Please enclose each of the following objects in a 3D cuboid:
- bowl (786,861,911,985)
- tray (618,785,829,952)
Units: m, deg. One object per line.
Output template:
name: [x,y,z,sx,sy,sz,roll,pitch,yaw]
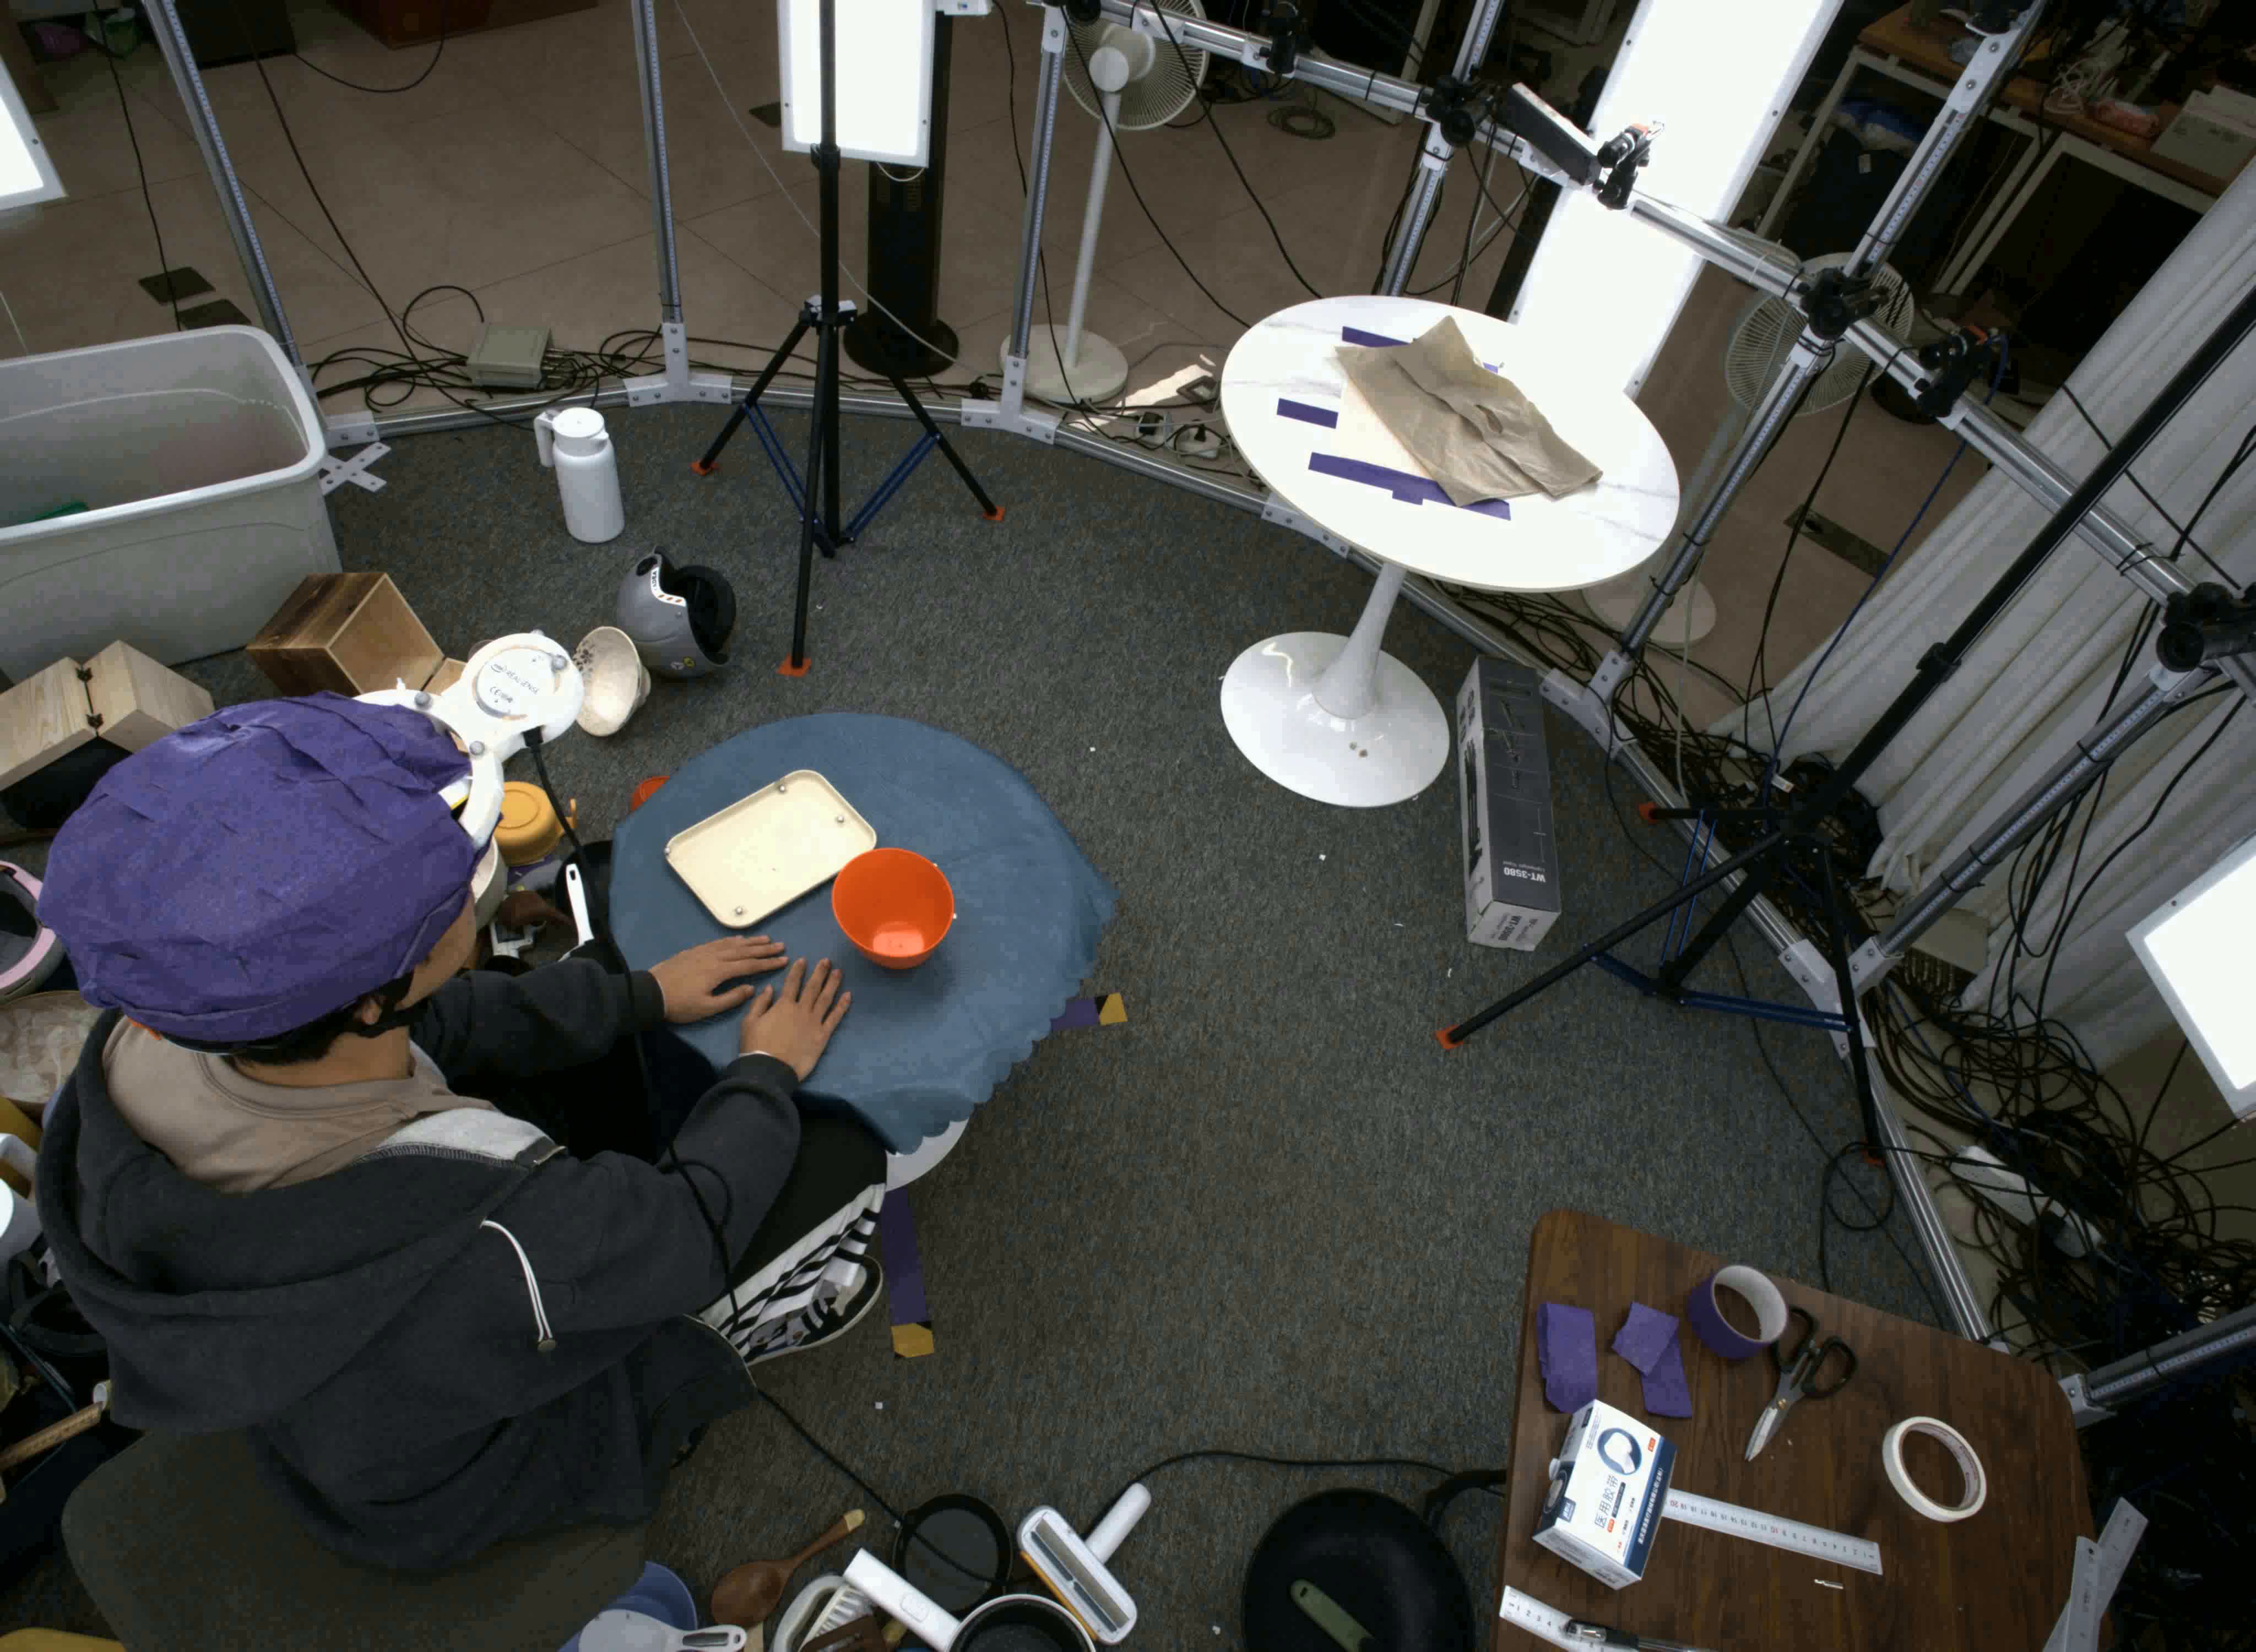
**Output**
bowl: [-0.340,0.130,1.589,0.147,0.107,0.145,8,50,-8]
tray: [-0.518,0.051,1.655,0.168,0.018,0.240,41,55,16]
